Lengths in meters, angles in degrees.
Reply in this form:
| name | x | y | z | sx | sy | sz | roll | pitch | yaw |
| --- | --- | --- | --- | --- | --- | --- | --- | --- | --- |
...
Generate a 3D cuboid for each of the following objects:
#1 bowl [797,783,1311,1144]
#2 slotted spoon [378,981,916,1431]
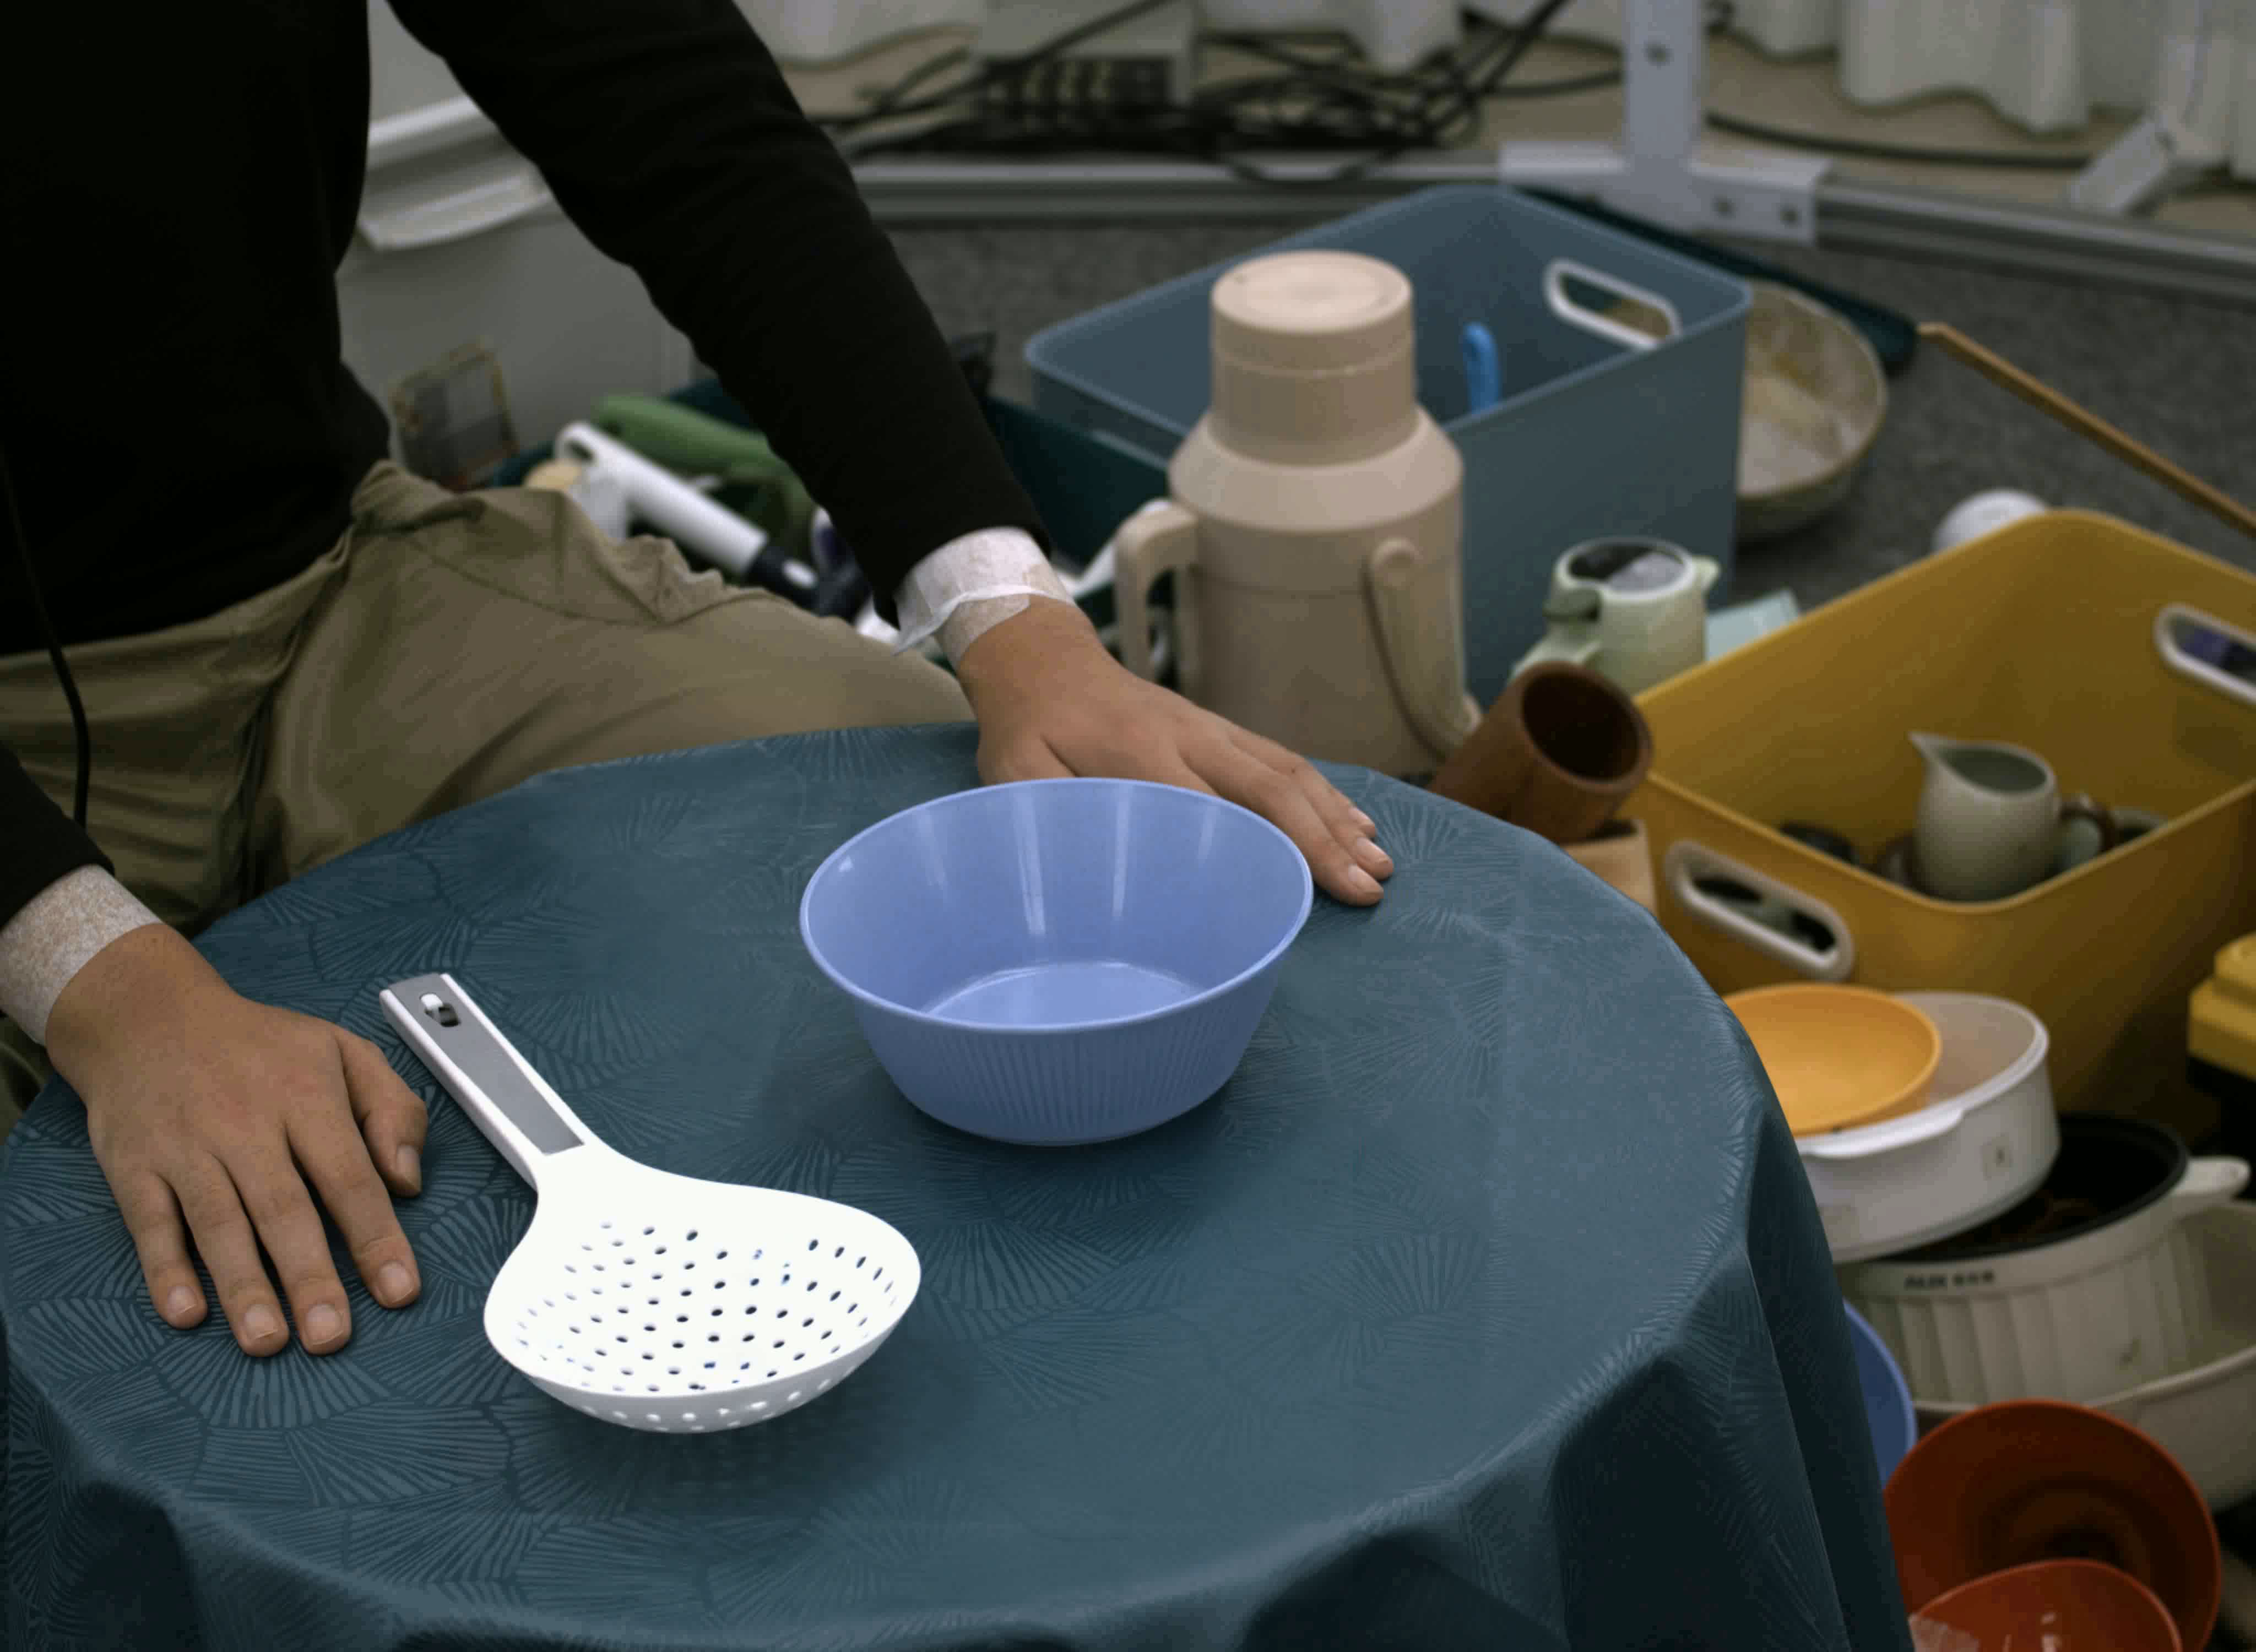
| name | x | y | z | sx | sy | sz | roll | pitch | yaw |
| --- | --- | --- | --- | --- | --- | --- | --- | --- | --- |
| bowl | -0.023 | 0.052 | 1.923 | 0.175 | 0.069 | 0.178 | -3 | 26 | 2 |
| slotted spoon | -0.179 | 0.117 | 1.838 | 0.136 | 0.045 | 0.351 | -15 | 29 | -22 |
